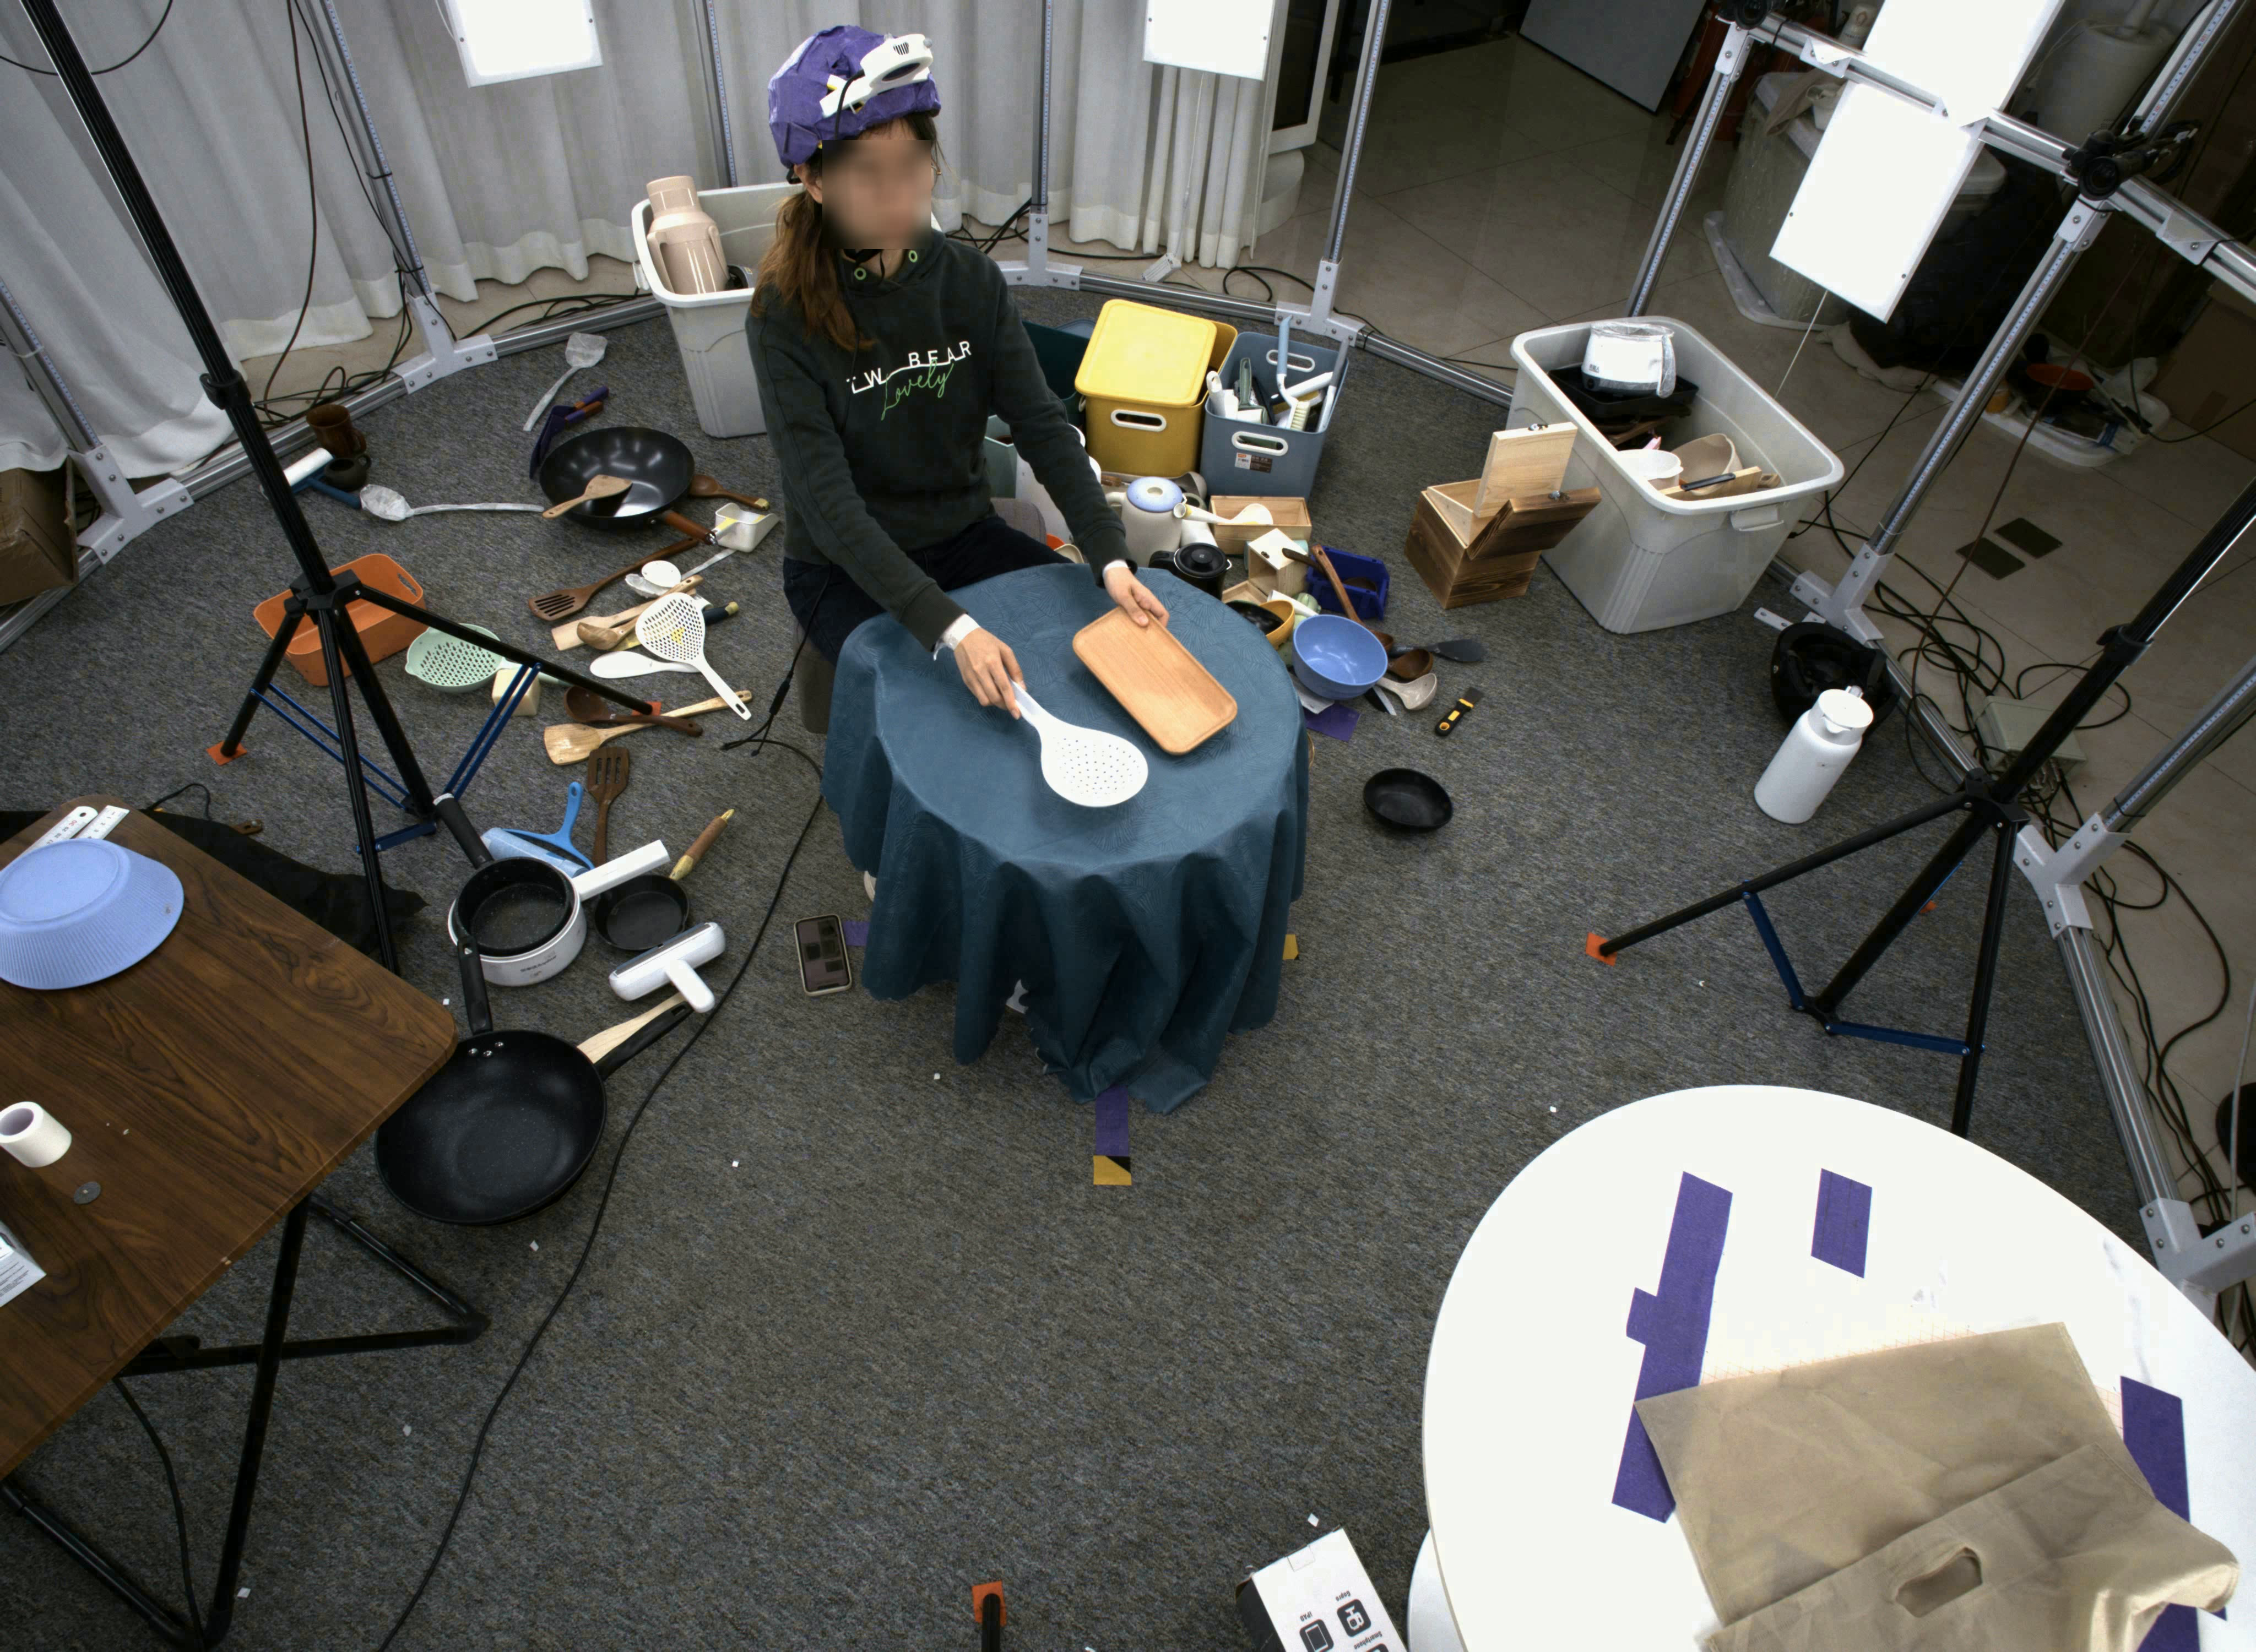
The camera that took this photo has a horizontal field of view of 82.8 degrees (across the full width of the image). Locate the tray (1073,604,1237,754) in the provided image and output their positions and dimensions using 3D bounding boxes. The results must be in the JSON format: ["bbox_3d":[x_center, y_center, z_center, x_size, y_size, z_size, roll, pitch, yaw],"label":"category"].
[{"bbox_3d":[0.037,-0.211,1.819,0.131,0.022,0.255,-33,64,-18],"label":"tray"}]

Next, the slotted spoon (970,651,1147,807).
[{"bbox_3d":[-0.110,-0.136,1.736,0.137,0.044,0.356,-25,57,-29],"label":"slotted spoon"}]
